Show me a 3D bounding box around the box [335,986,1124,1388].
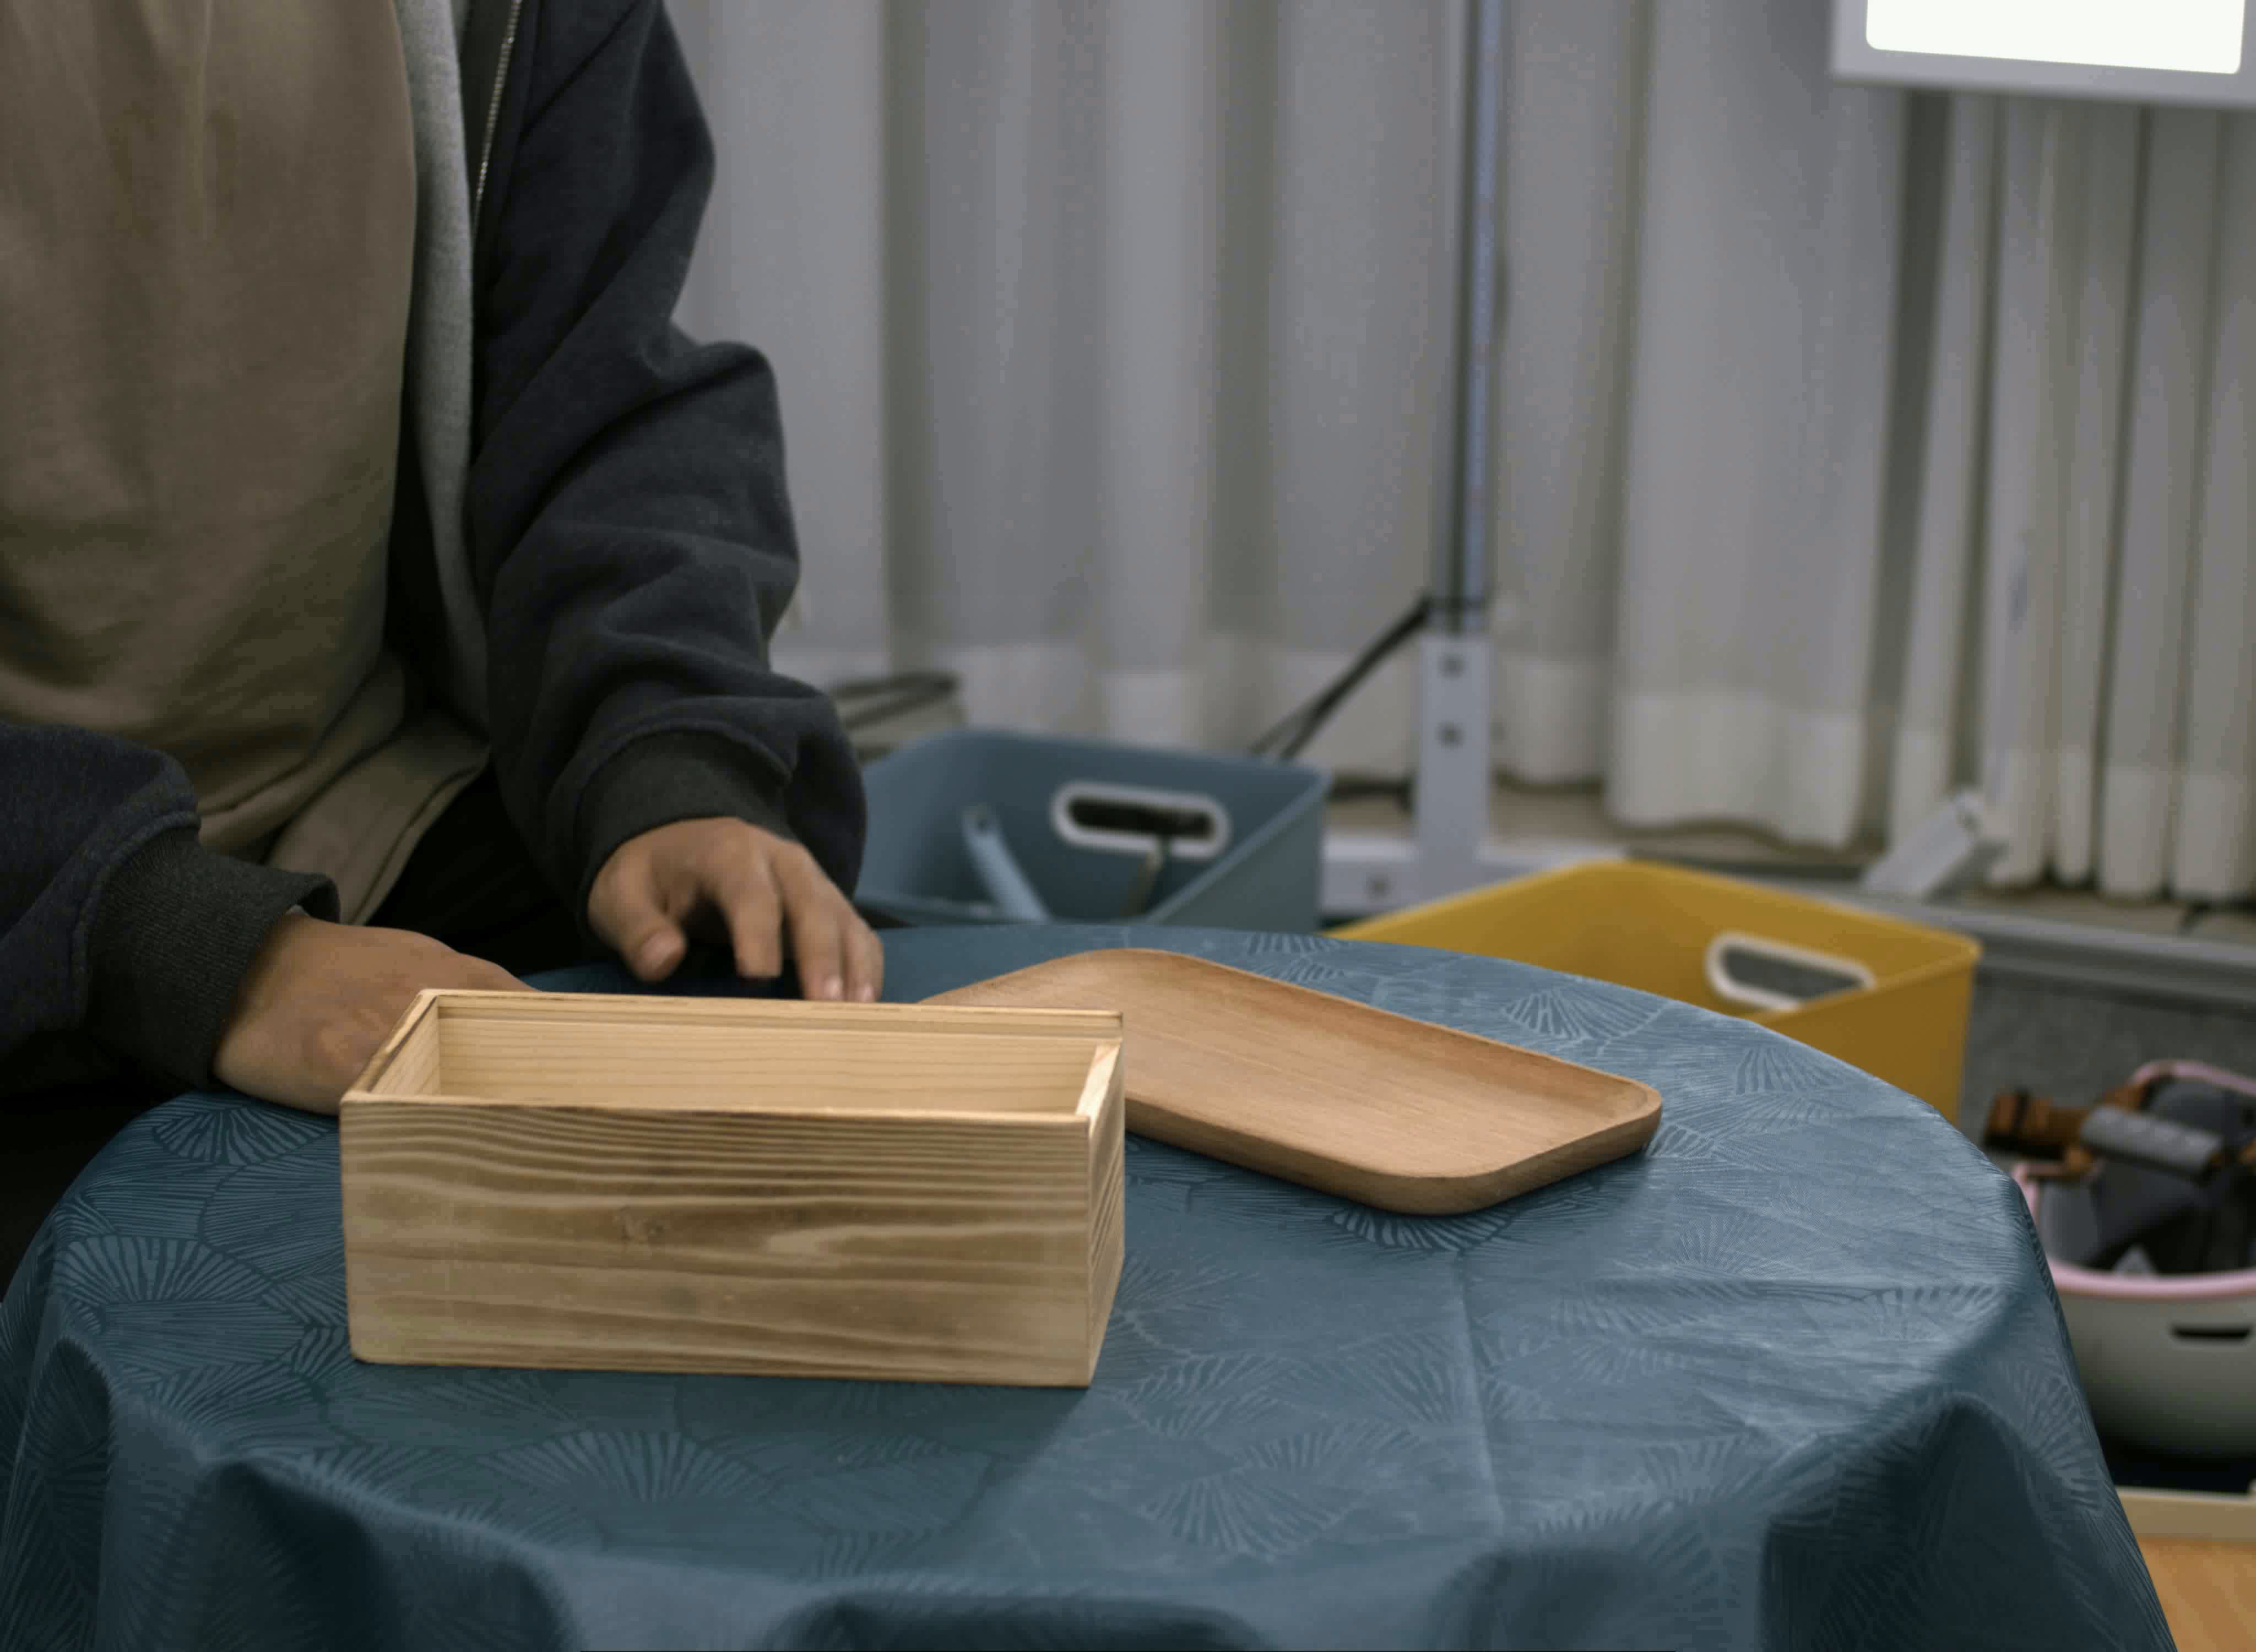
[{"bbox_3d":[-0.111,0.102,1.508,0.210,0.081,0.107,2,16,4],"label":"box"}]

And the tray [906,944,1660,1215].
[{"bbox_3d":[0.046,0.080,1.708,0.247,0.023,0.131,14,18,42],"label":"tray"}]
